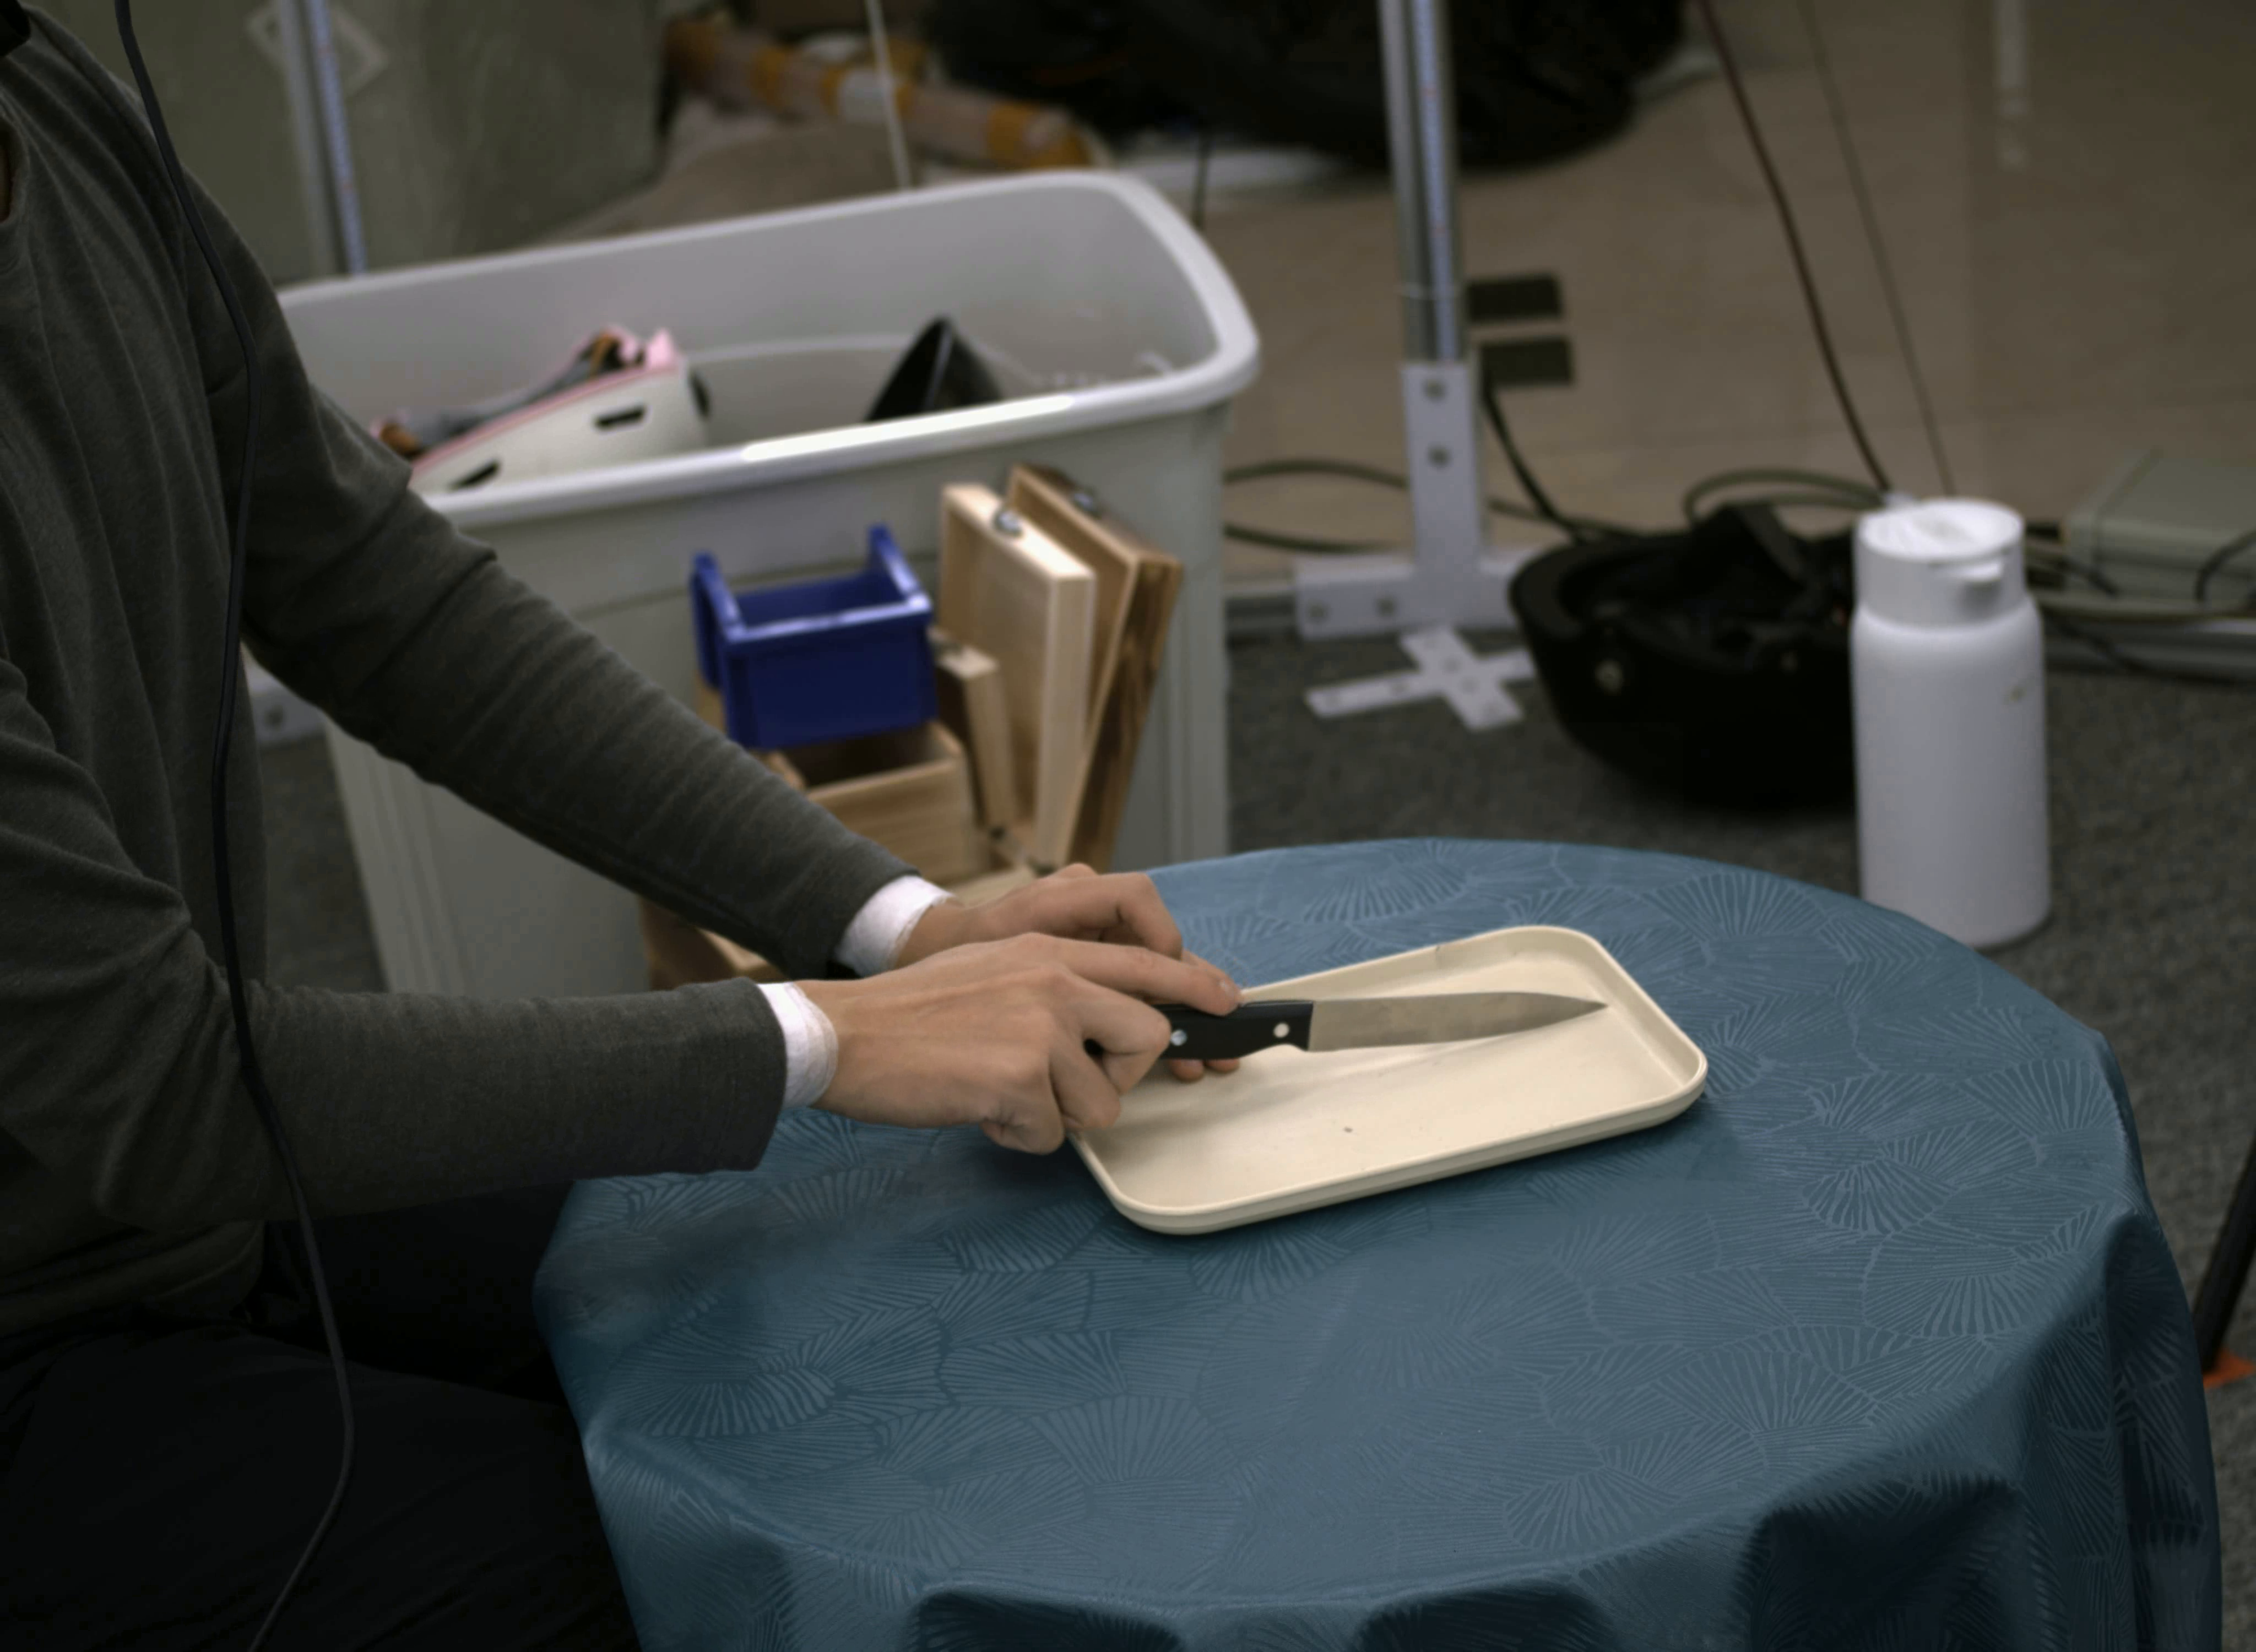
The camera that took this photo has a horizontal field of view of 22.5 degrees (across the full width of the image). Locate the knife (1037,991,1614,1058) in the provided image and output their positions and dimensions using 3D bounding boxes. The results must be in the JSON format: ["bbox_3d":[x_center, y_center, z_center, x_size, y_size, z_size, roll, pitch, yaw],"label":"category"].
[{"bbox_3d":[0.079,0.075,2.201,0.238,0.025,0.016,-2,25,-18],"label":"knife"}]

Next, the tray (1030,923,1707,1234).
[{"bbox_3d":[0.092,0.098,2.196,0.239,0.018,0.169,-12,26,-12],"label":"tray"}]
